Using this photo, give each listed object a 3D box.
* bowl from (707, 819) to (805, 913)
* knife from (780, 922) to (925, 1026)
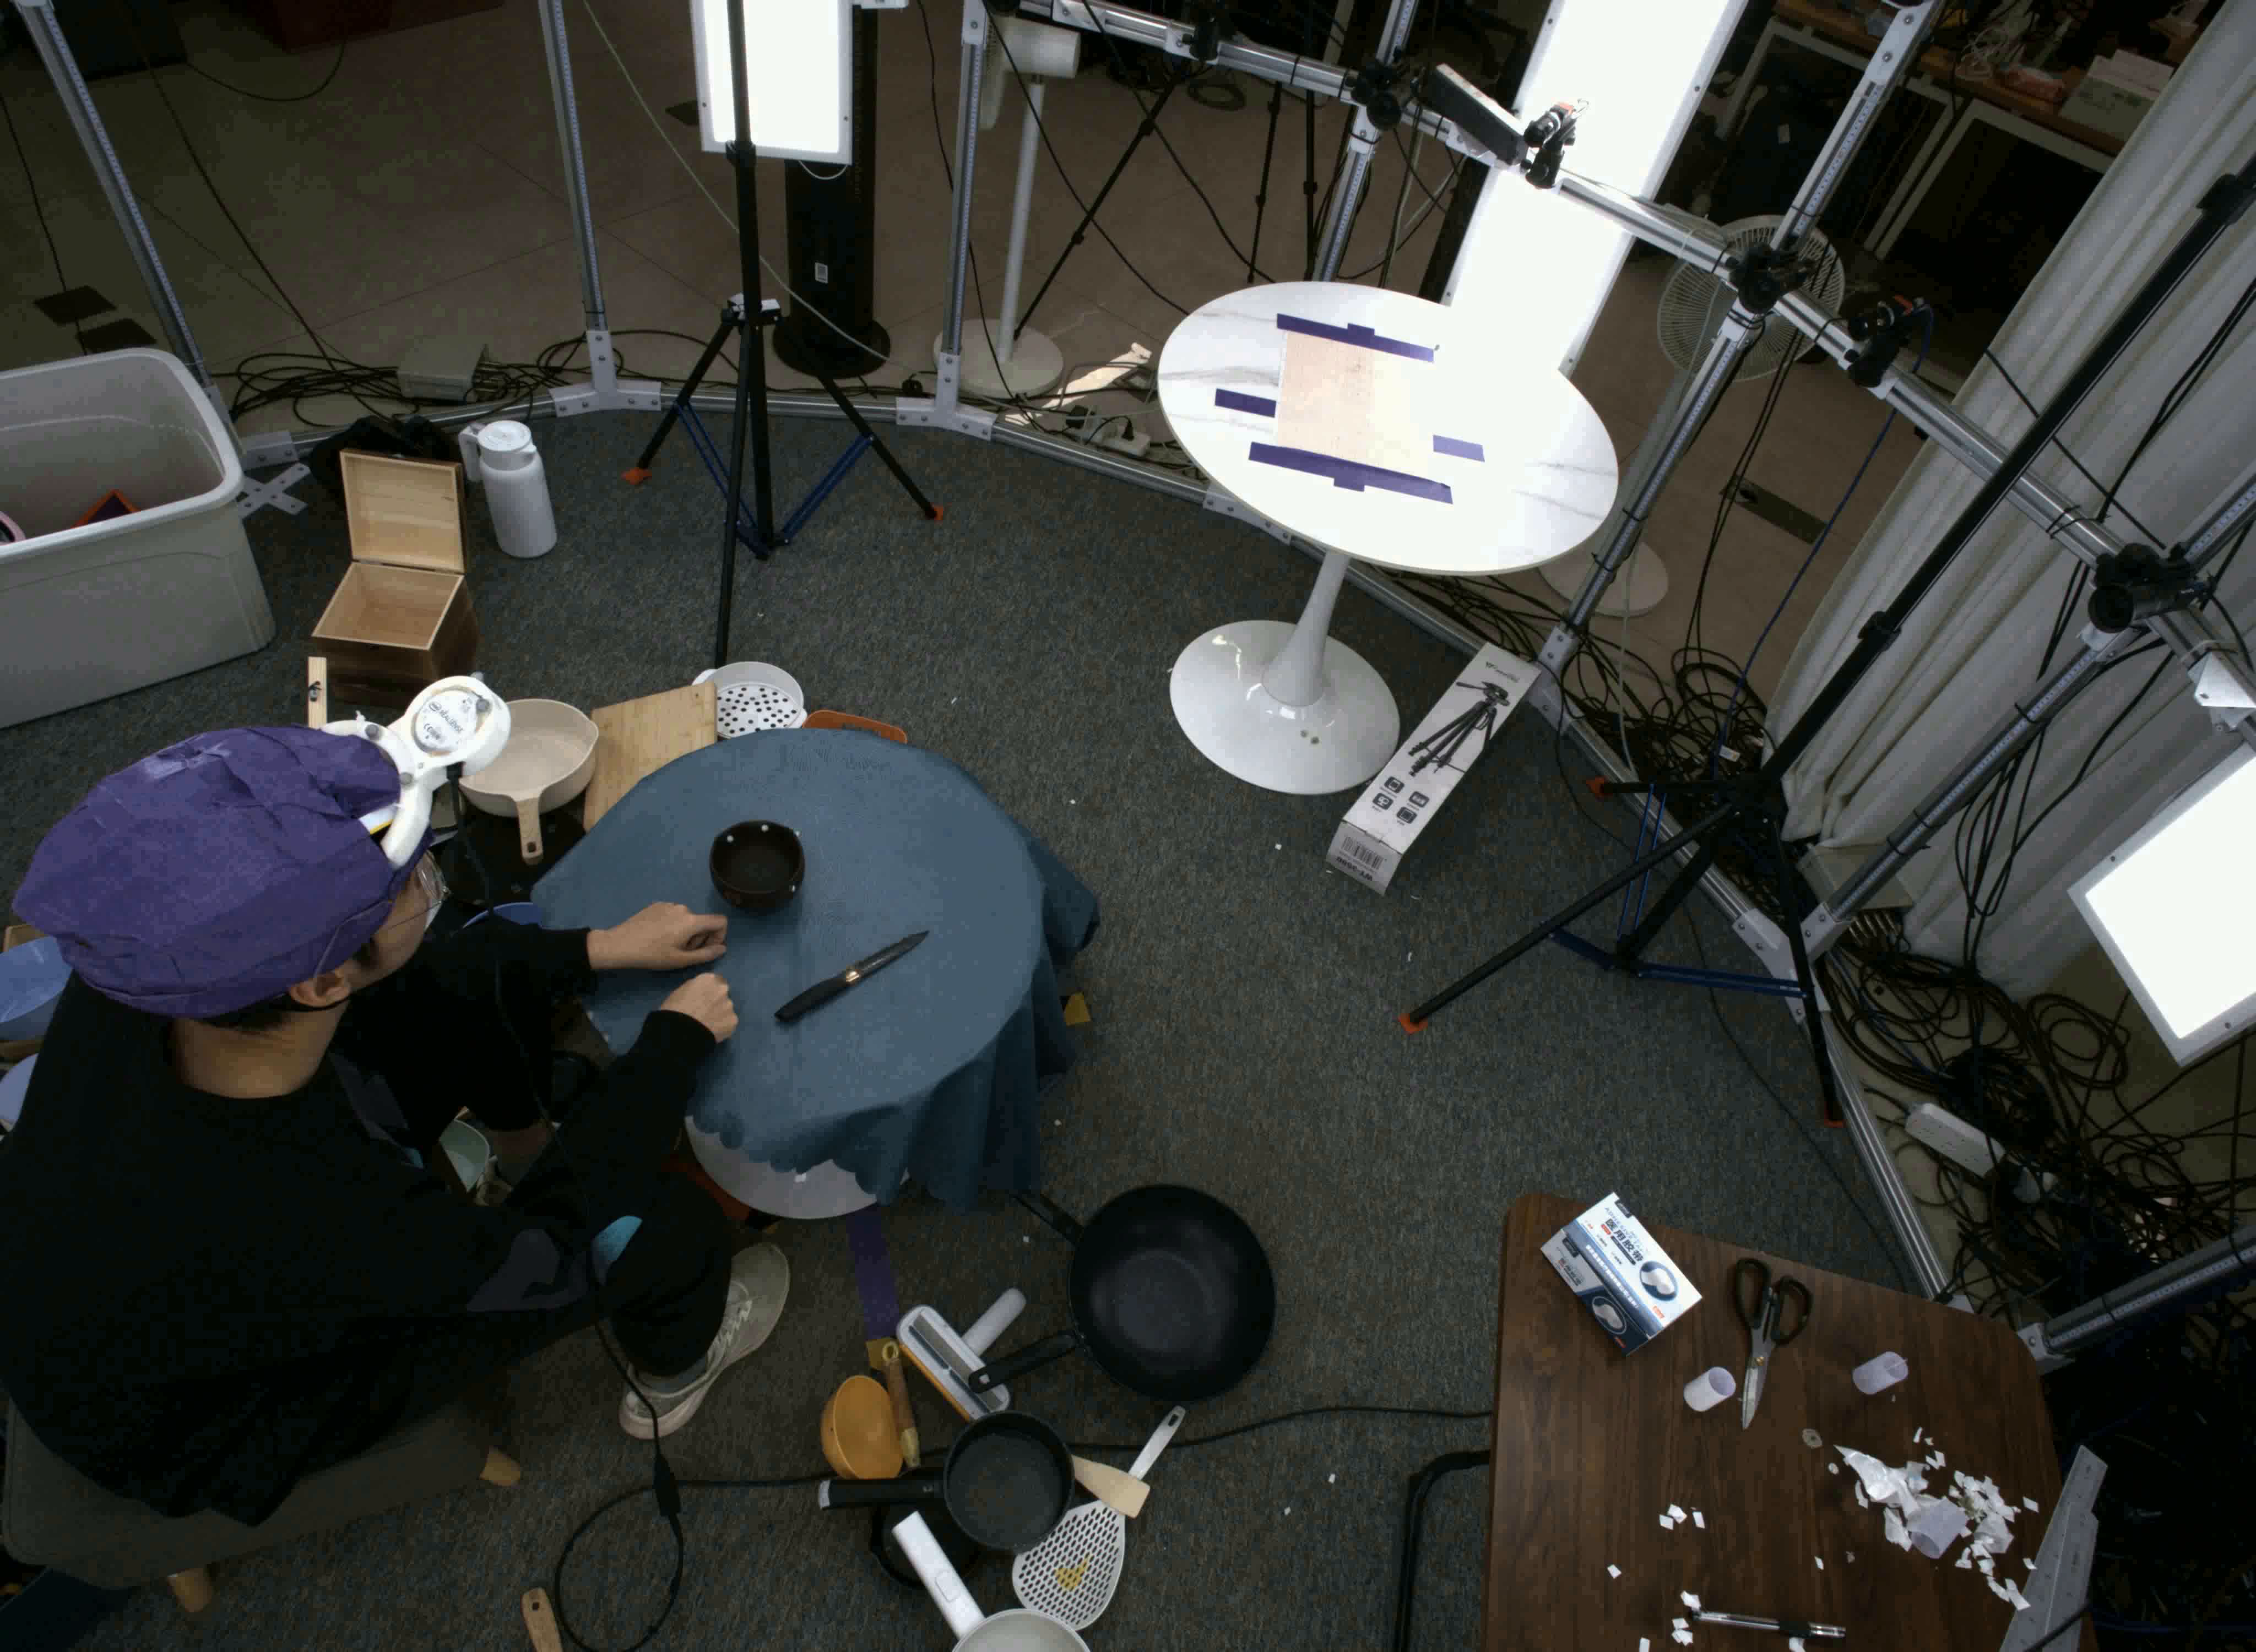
[{"bbox_3d":[-0.462,0.056,1.613,0.117,0.071,0.116,7,51,-7],"label":"bowl"},{"bbox_3d":[-0.334,0.178,1.598,0.025,0.018,0.226,38,52,25],"label":"knife"}]
